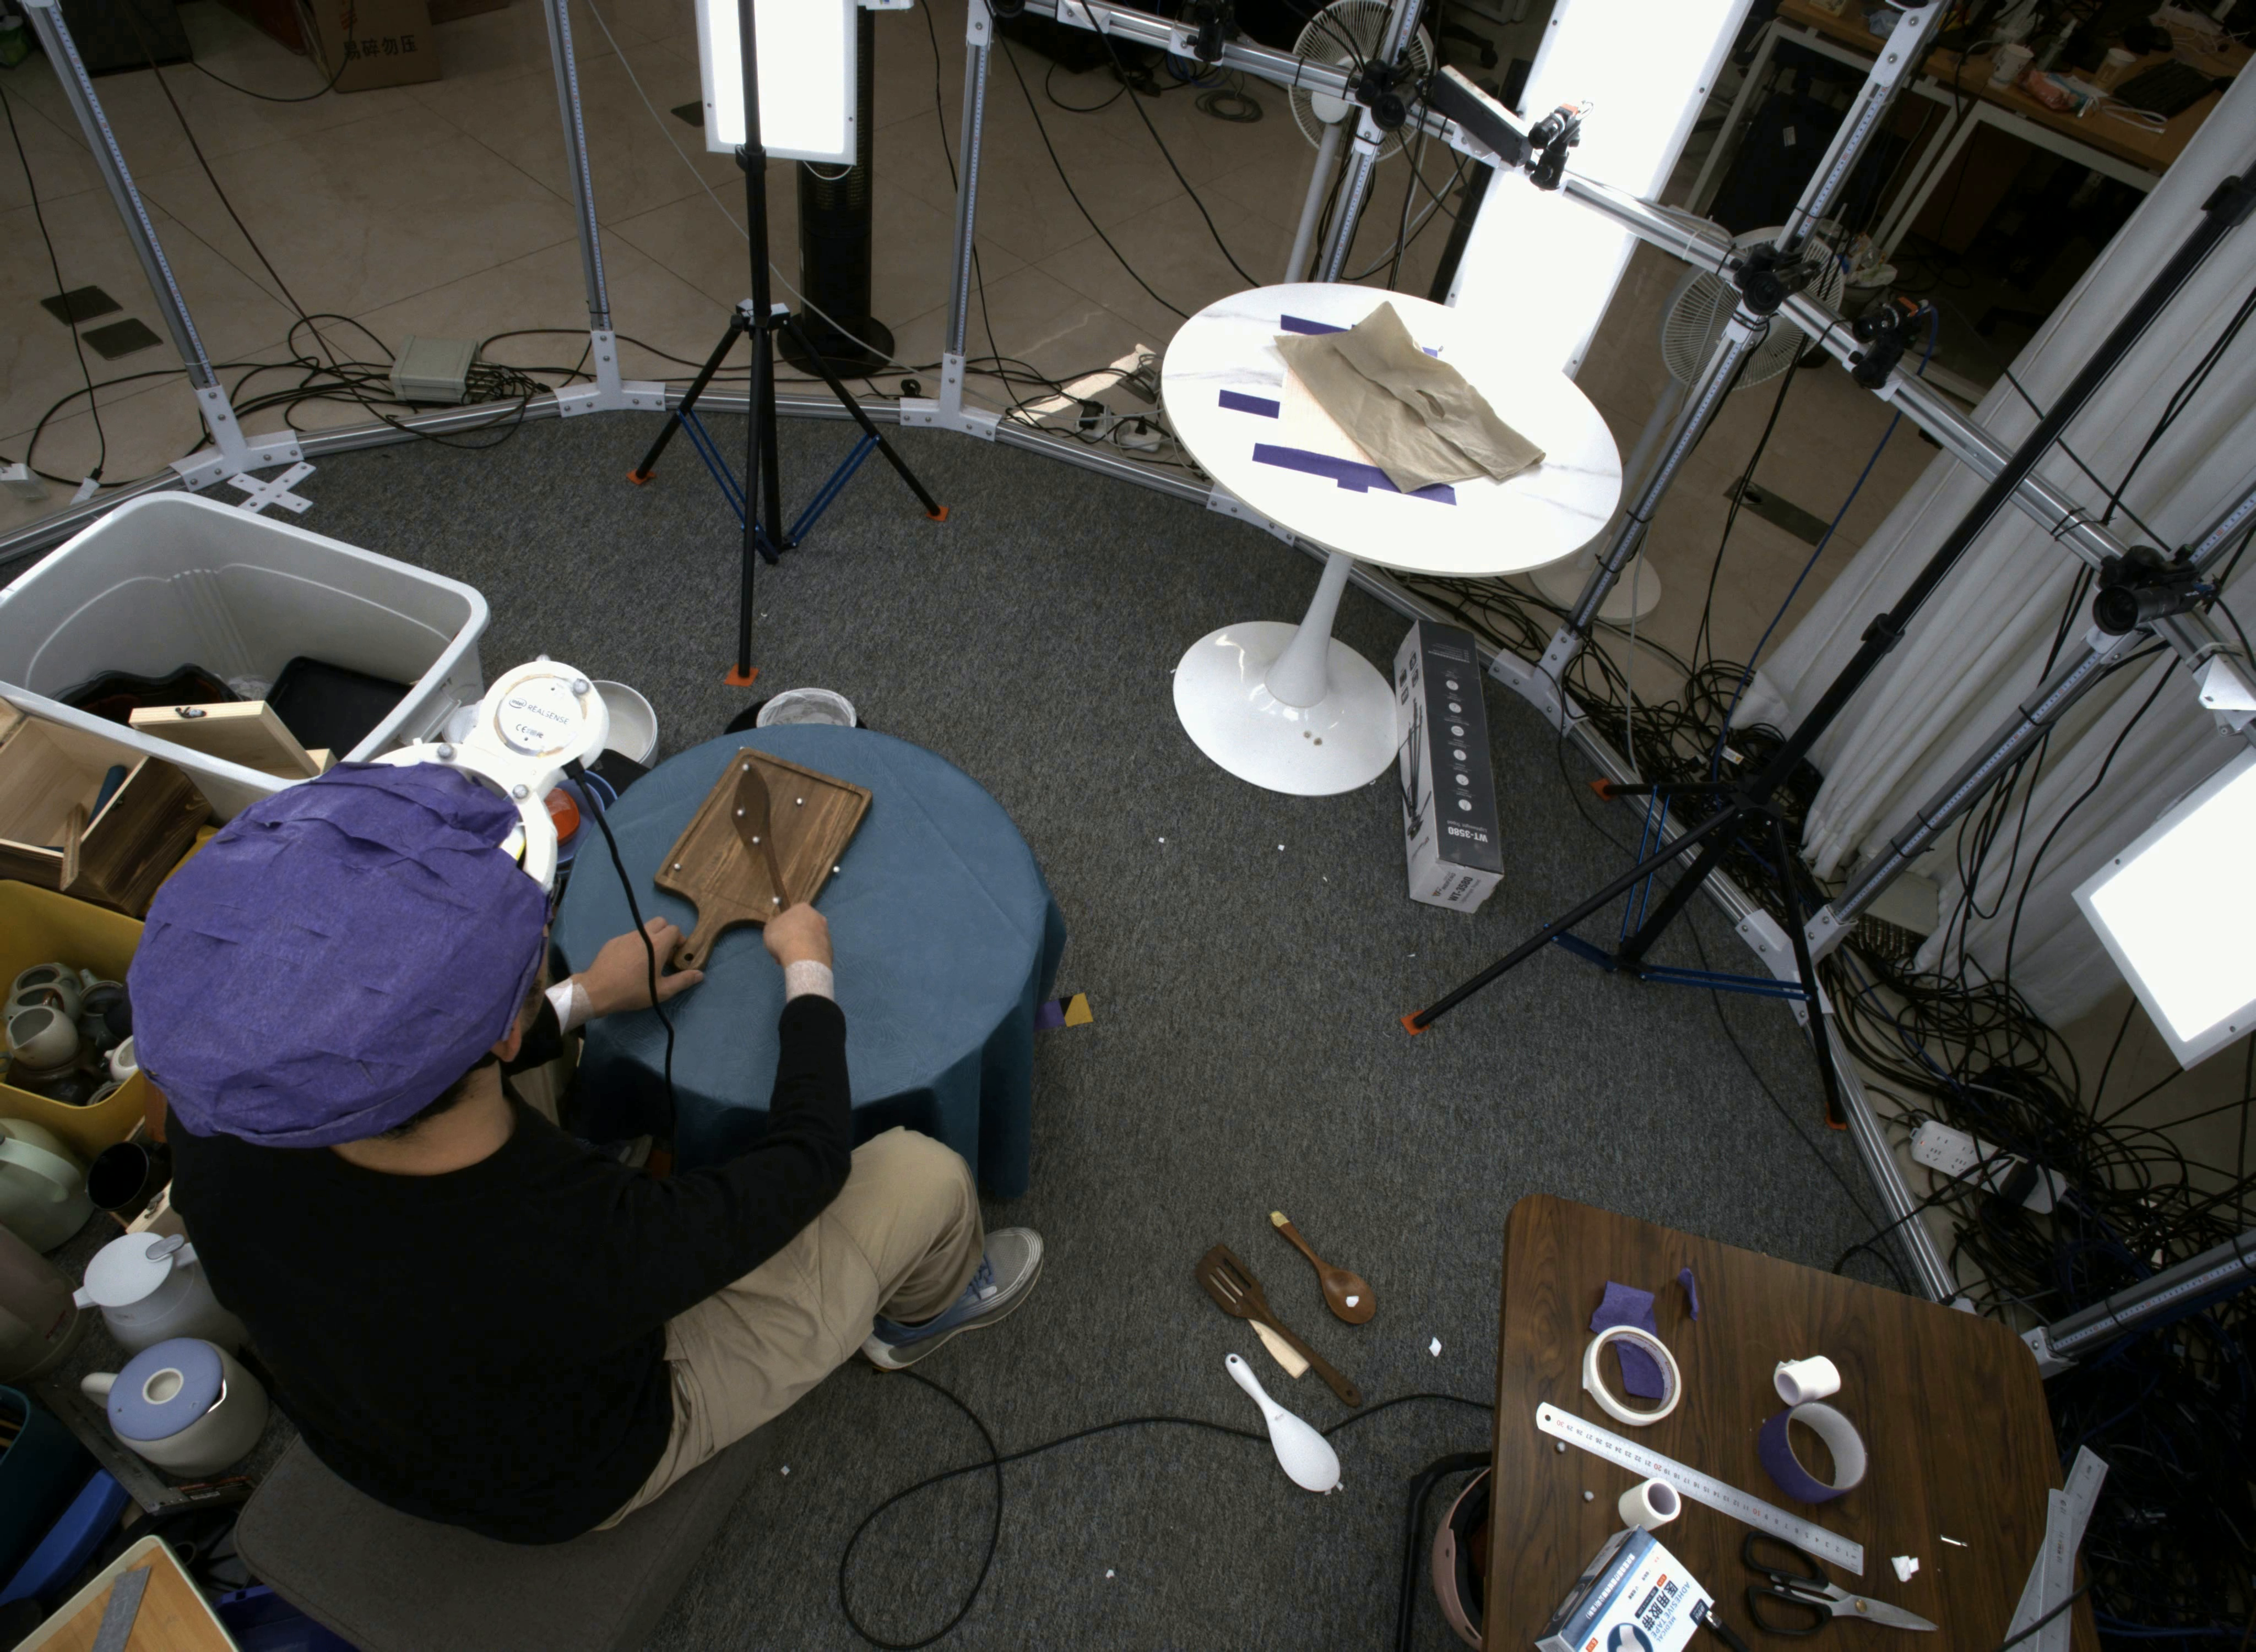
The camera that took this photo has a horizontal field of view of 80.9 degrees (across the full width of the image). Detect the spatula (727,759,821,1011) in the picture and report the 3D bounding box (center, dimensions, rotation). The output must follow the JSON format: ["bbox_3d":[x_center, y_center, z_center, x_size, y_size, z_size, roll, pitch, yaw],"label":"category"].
[{"bbox_3d":[-0.429,0.070,1.564,0.016,0.097,0.374,1,45,-36],"label":"spatula"}]

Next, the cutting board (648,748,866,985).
[{"bbox_3d":[-0.491,0.052,1.649,0.199,0.023,0.348,19,52,1],"label":"cutting board"}]
